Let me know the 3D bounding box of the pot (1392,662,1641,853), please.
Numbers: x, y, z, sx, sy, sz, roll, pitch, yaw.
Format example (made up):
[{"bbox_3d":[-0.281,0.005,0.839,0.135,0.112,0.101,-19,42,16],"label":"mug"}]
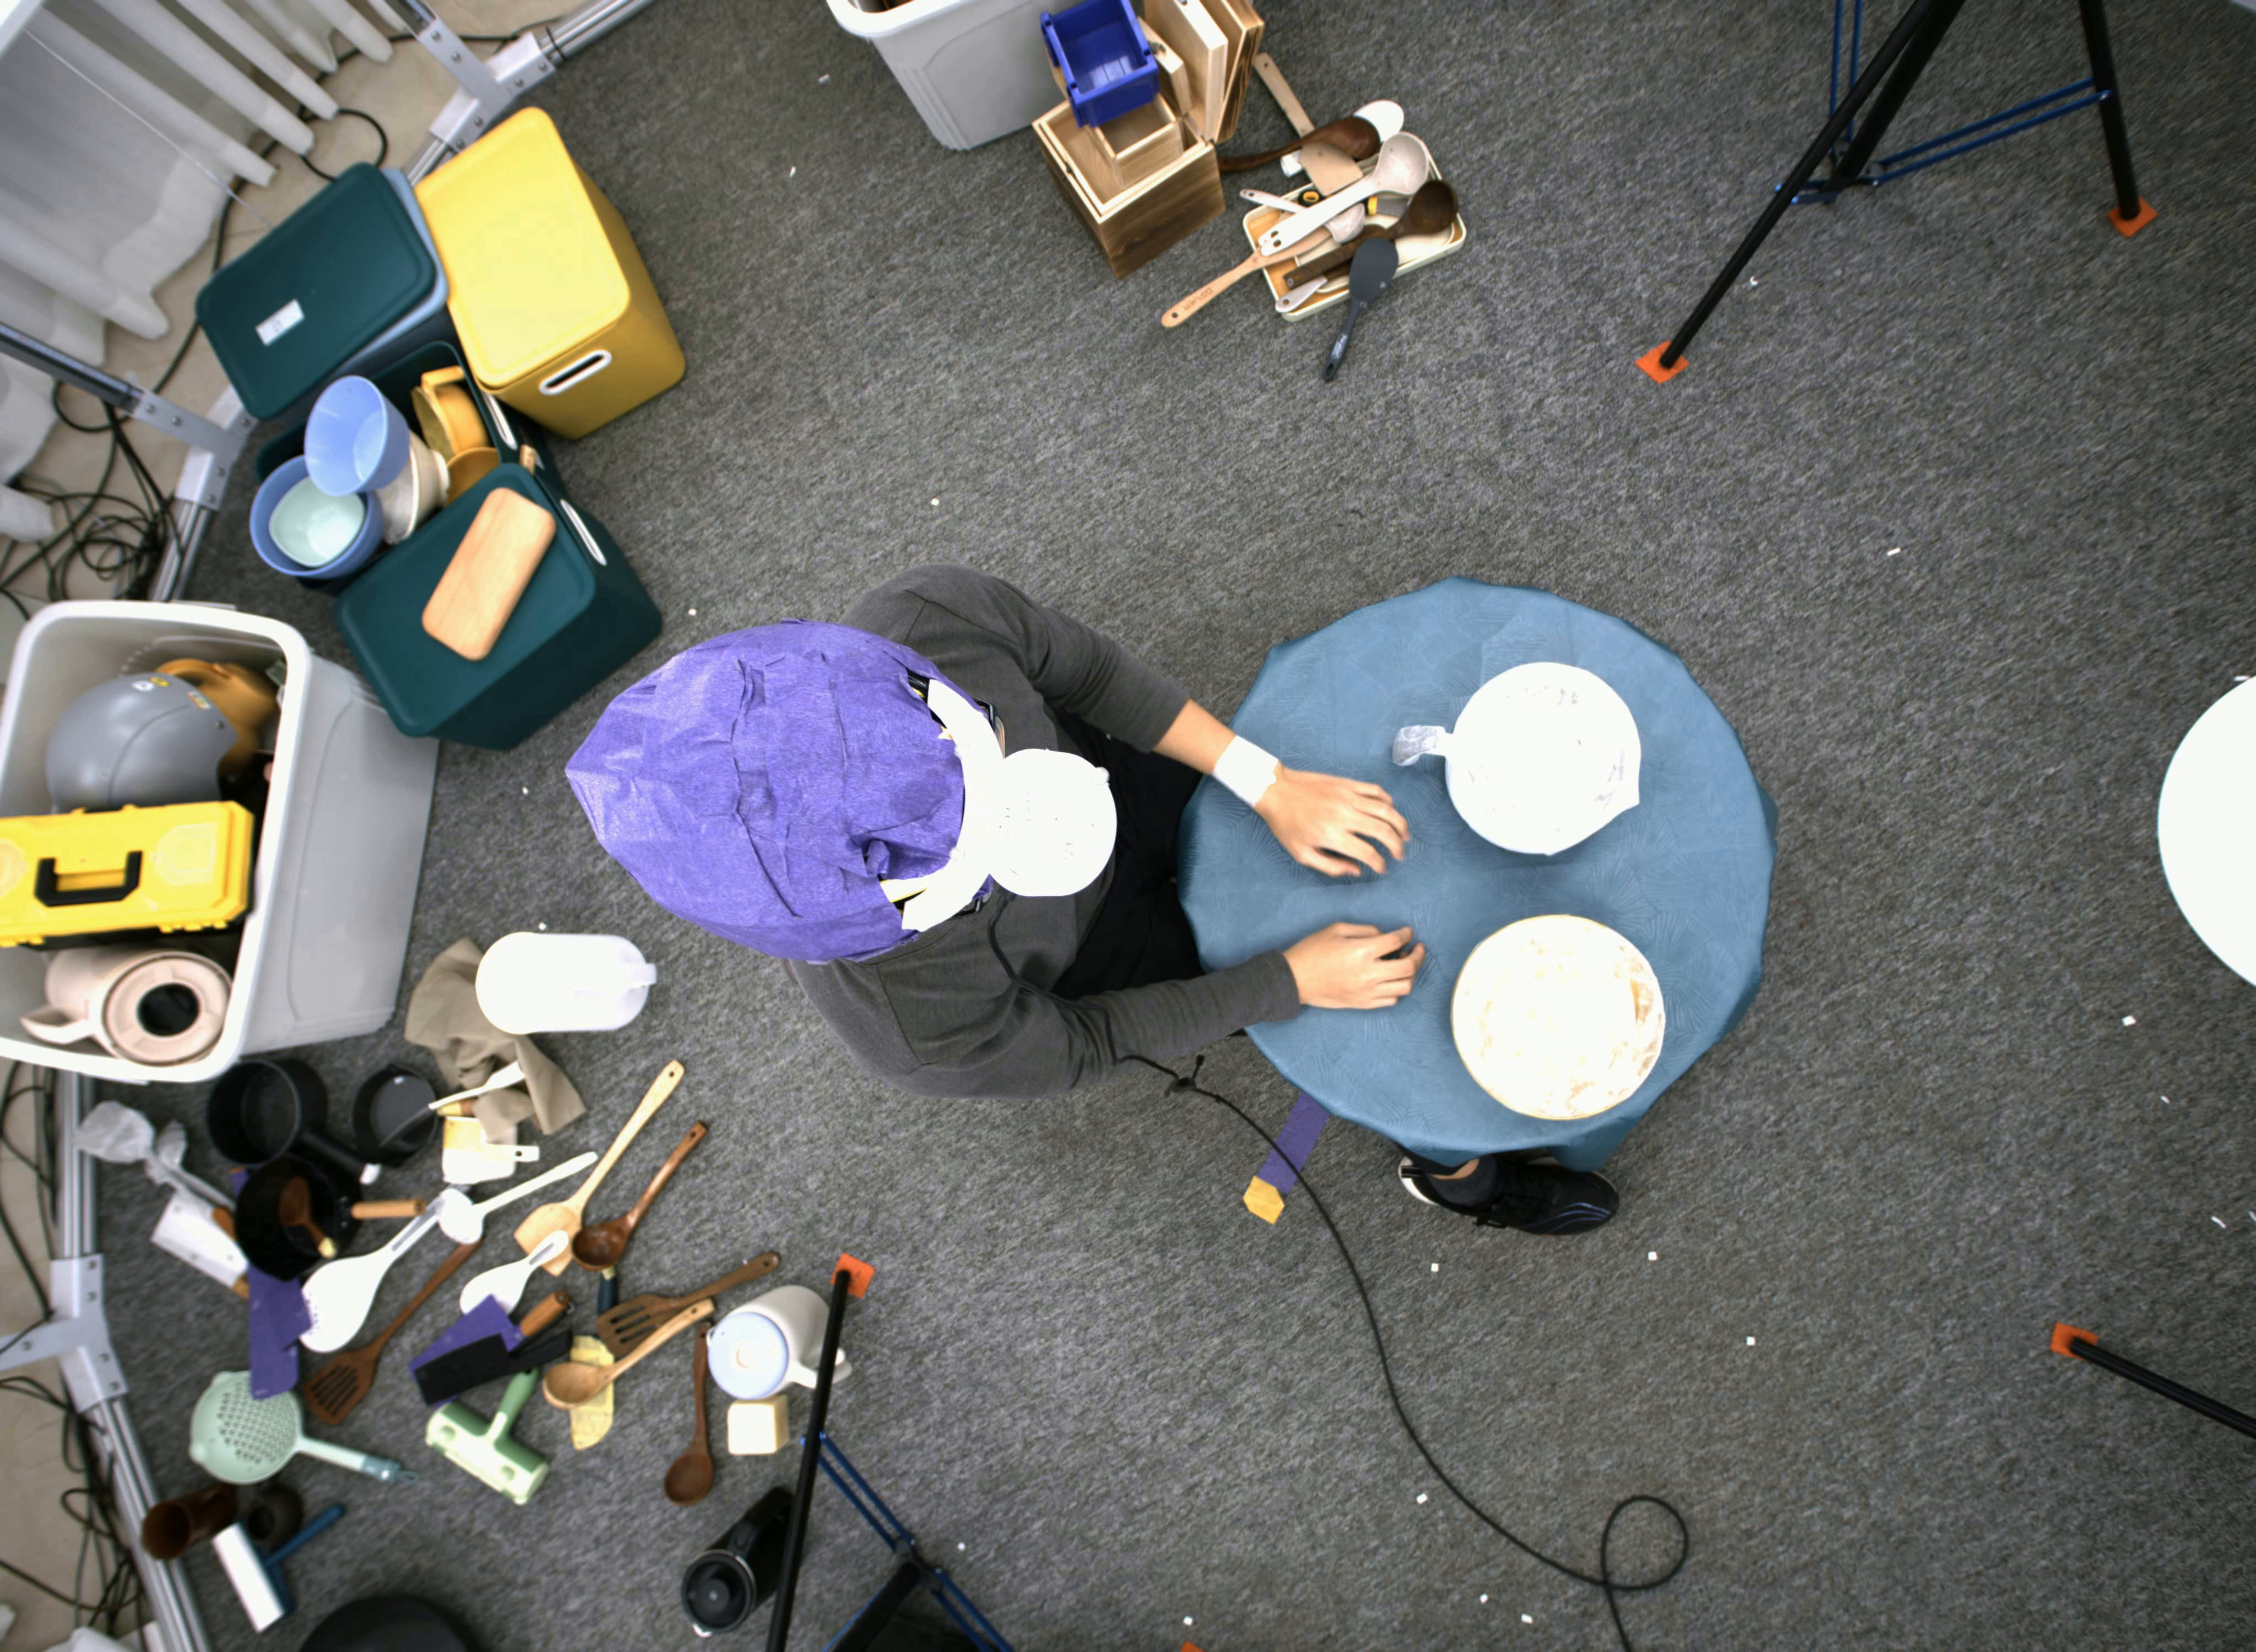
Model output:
[{"bbox_3d":[0.383,-0.070,1.377,0.234,0.137,0.178,9,87,11],"label":"pot"}]

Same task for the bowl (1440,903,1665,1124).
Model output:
[{"bbox_3d":[0.420,0.184,1.378,0.215,0.094,0.214,-1,88,12],"label":"bowl"}]
